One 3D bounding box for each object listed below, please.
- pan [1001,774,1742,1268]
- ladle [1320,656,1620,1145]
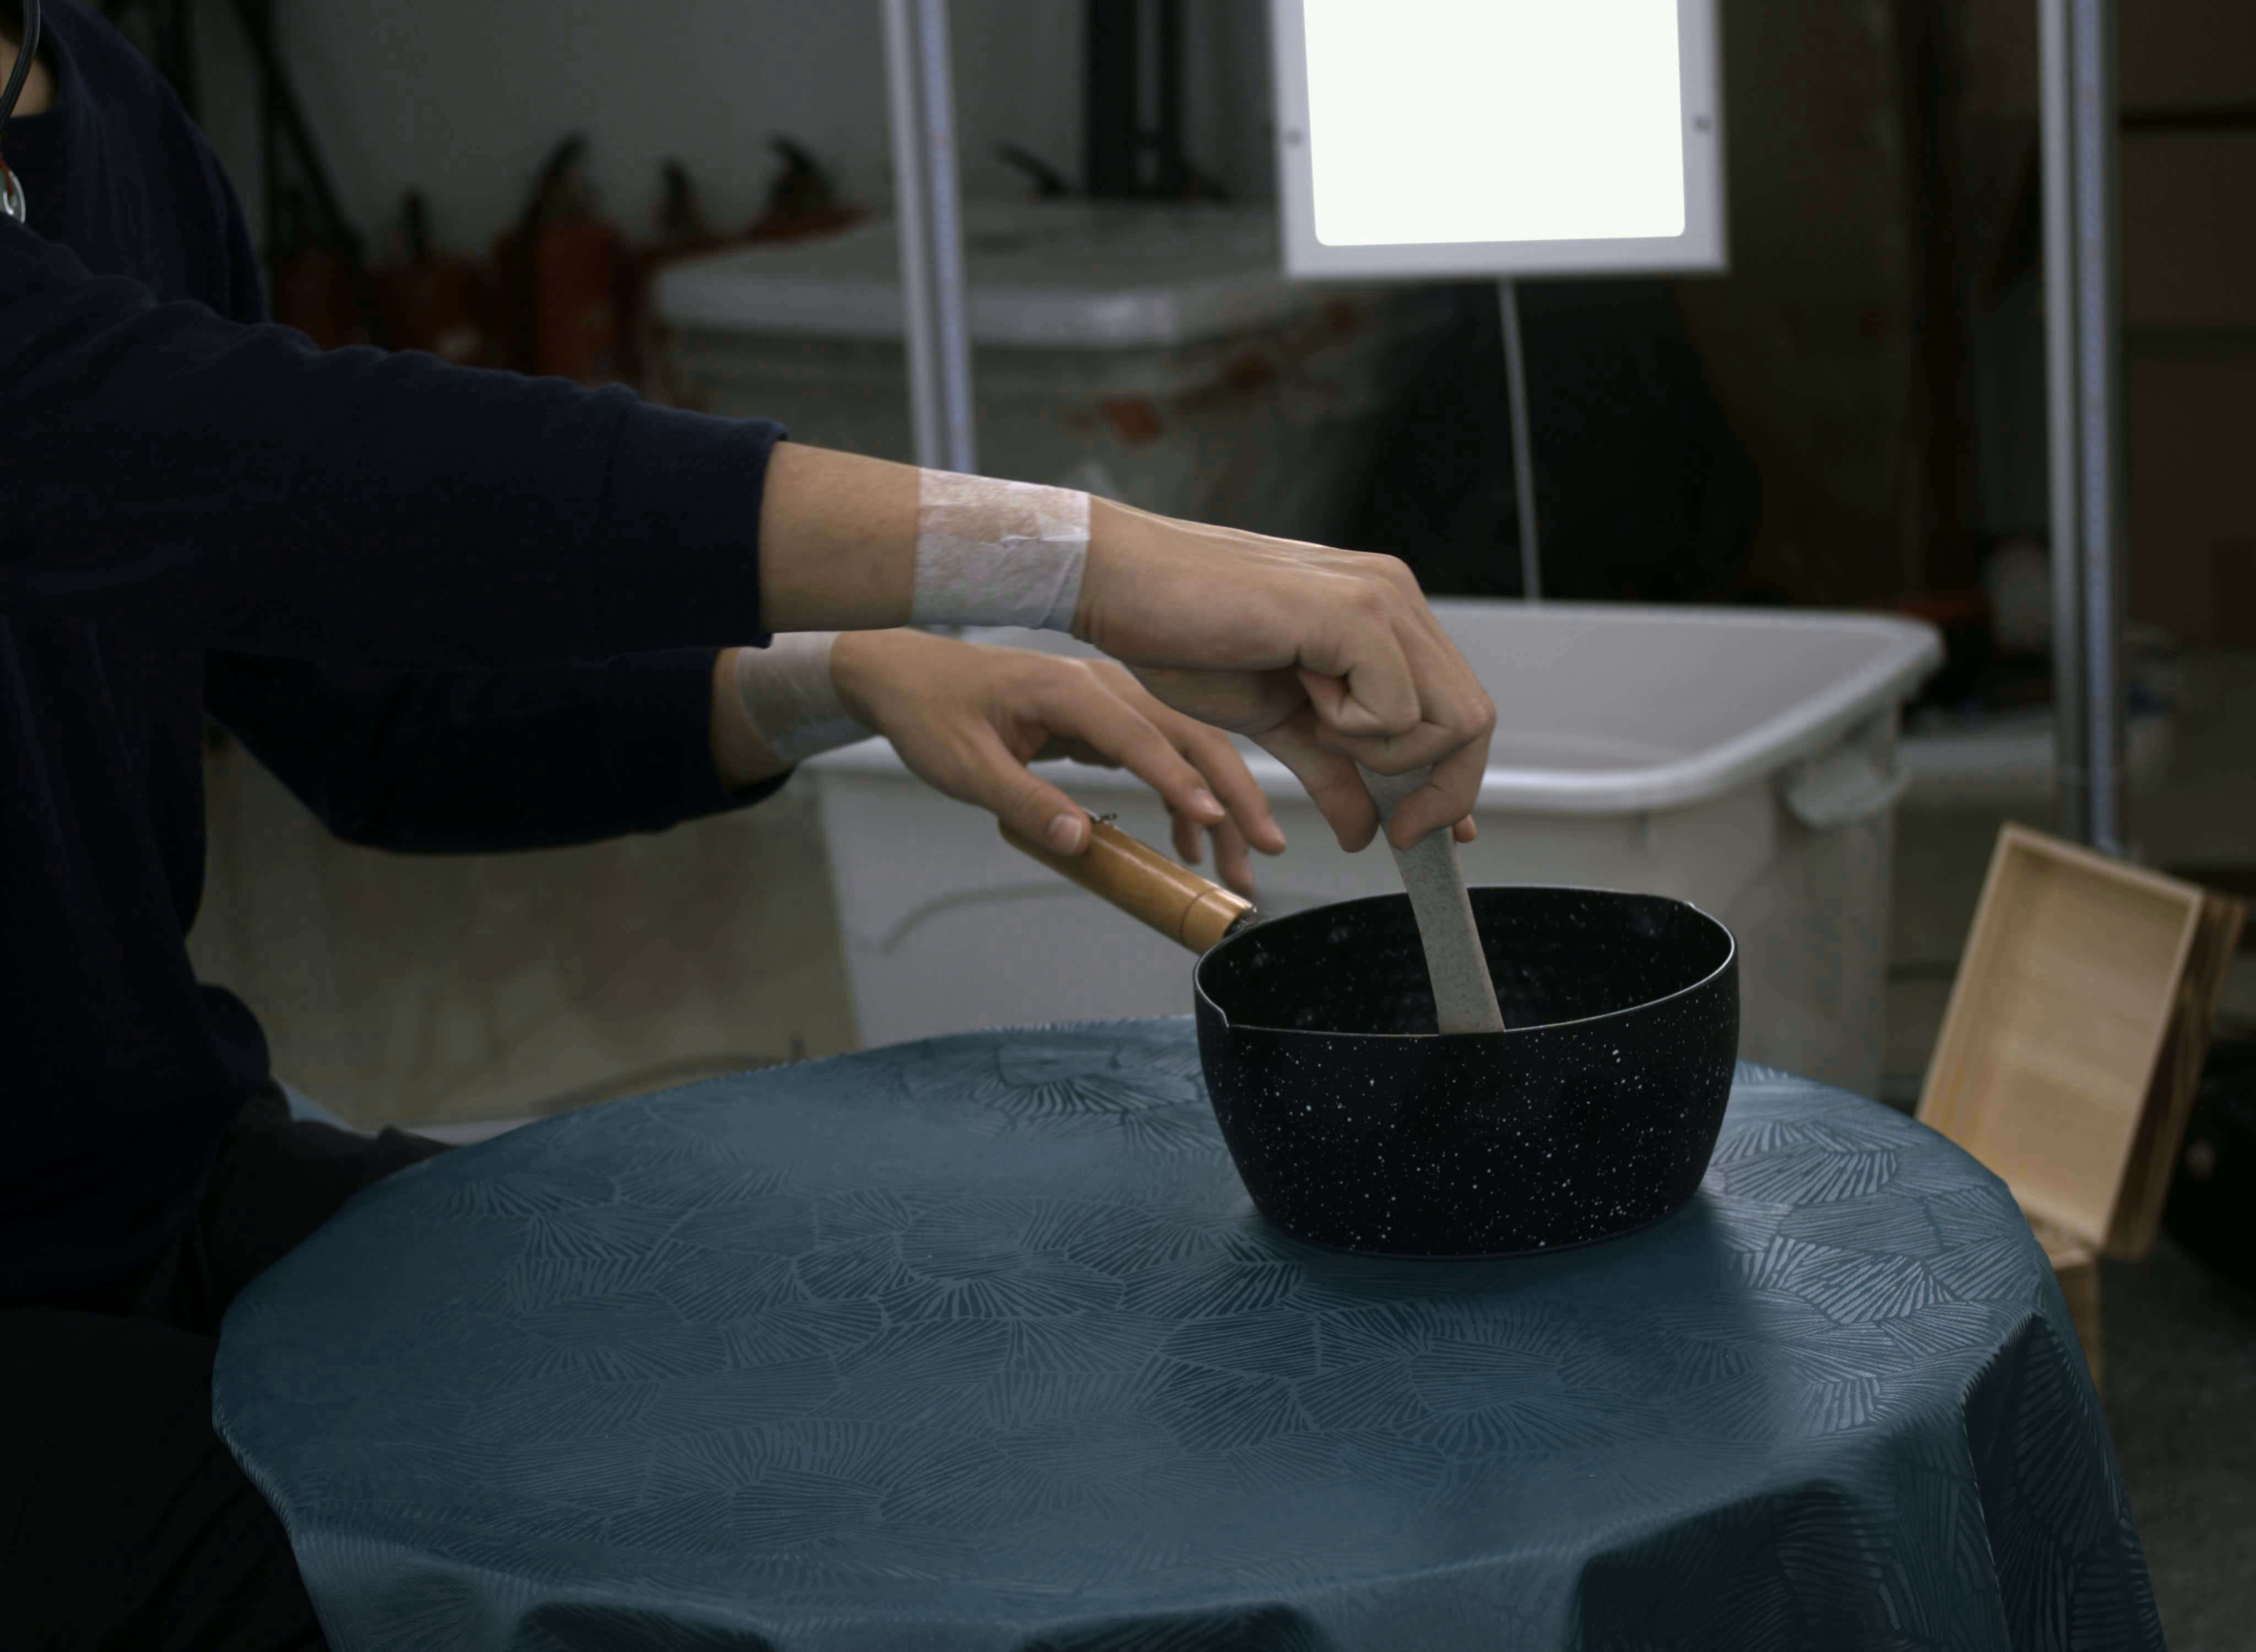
[{"bbox_3d":[0.066,0.061,1.912,0.202,0.108,0.350,-16,19,-35],"label":"pan"},{"bbox_3d":[0.104,0.015,1.735,0.090,0.274,0.068,7,52,23],"label":"ladle"}]
